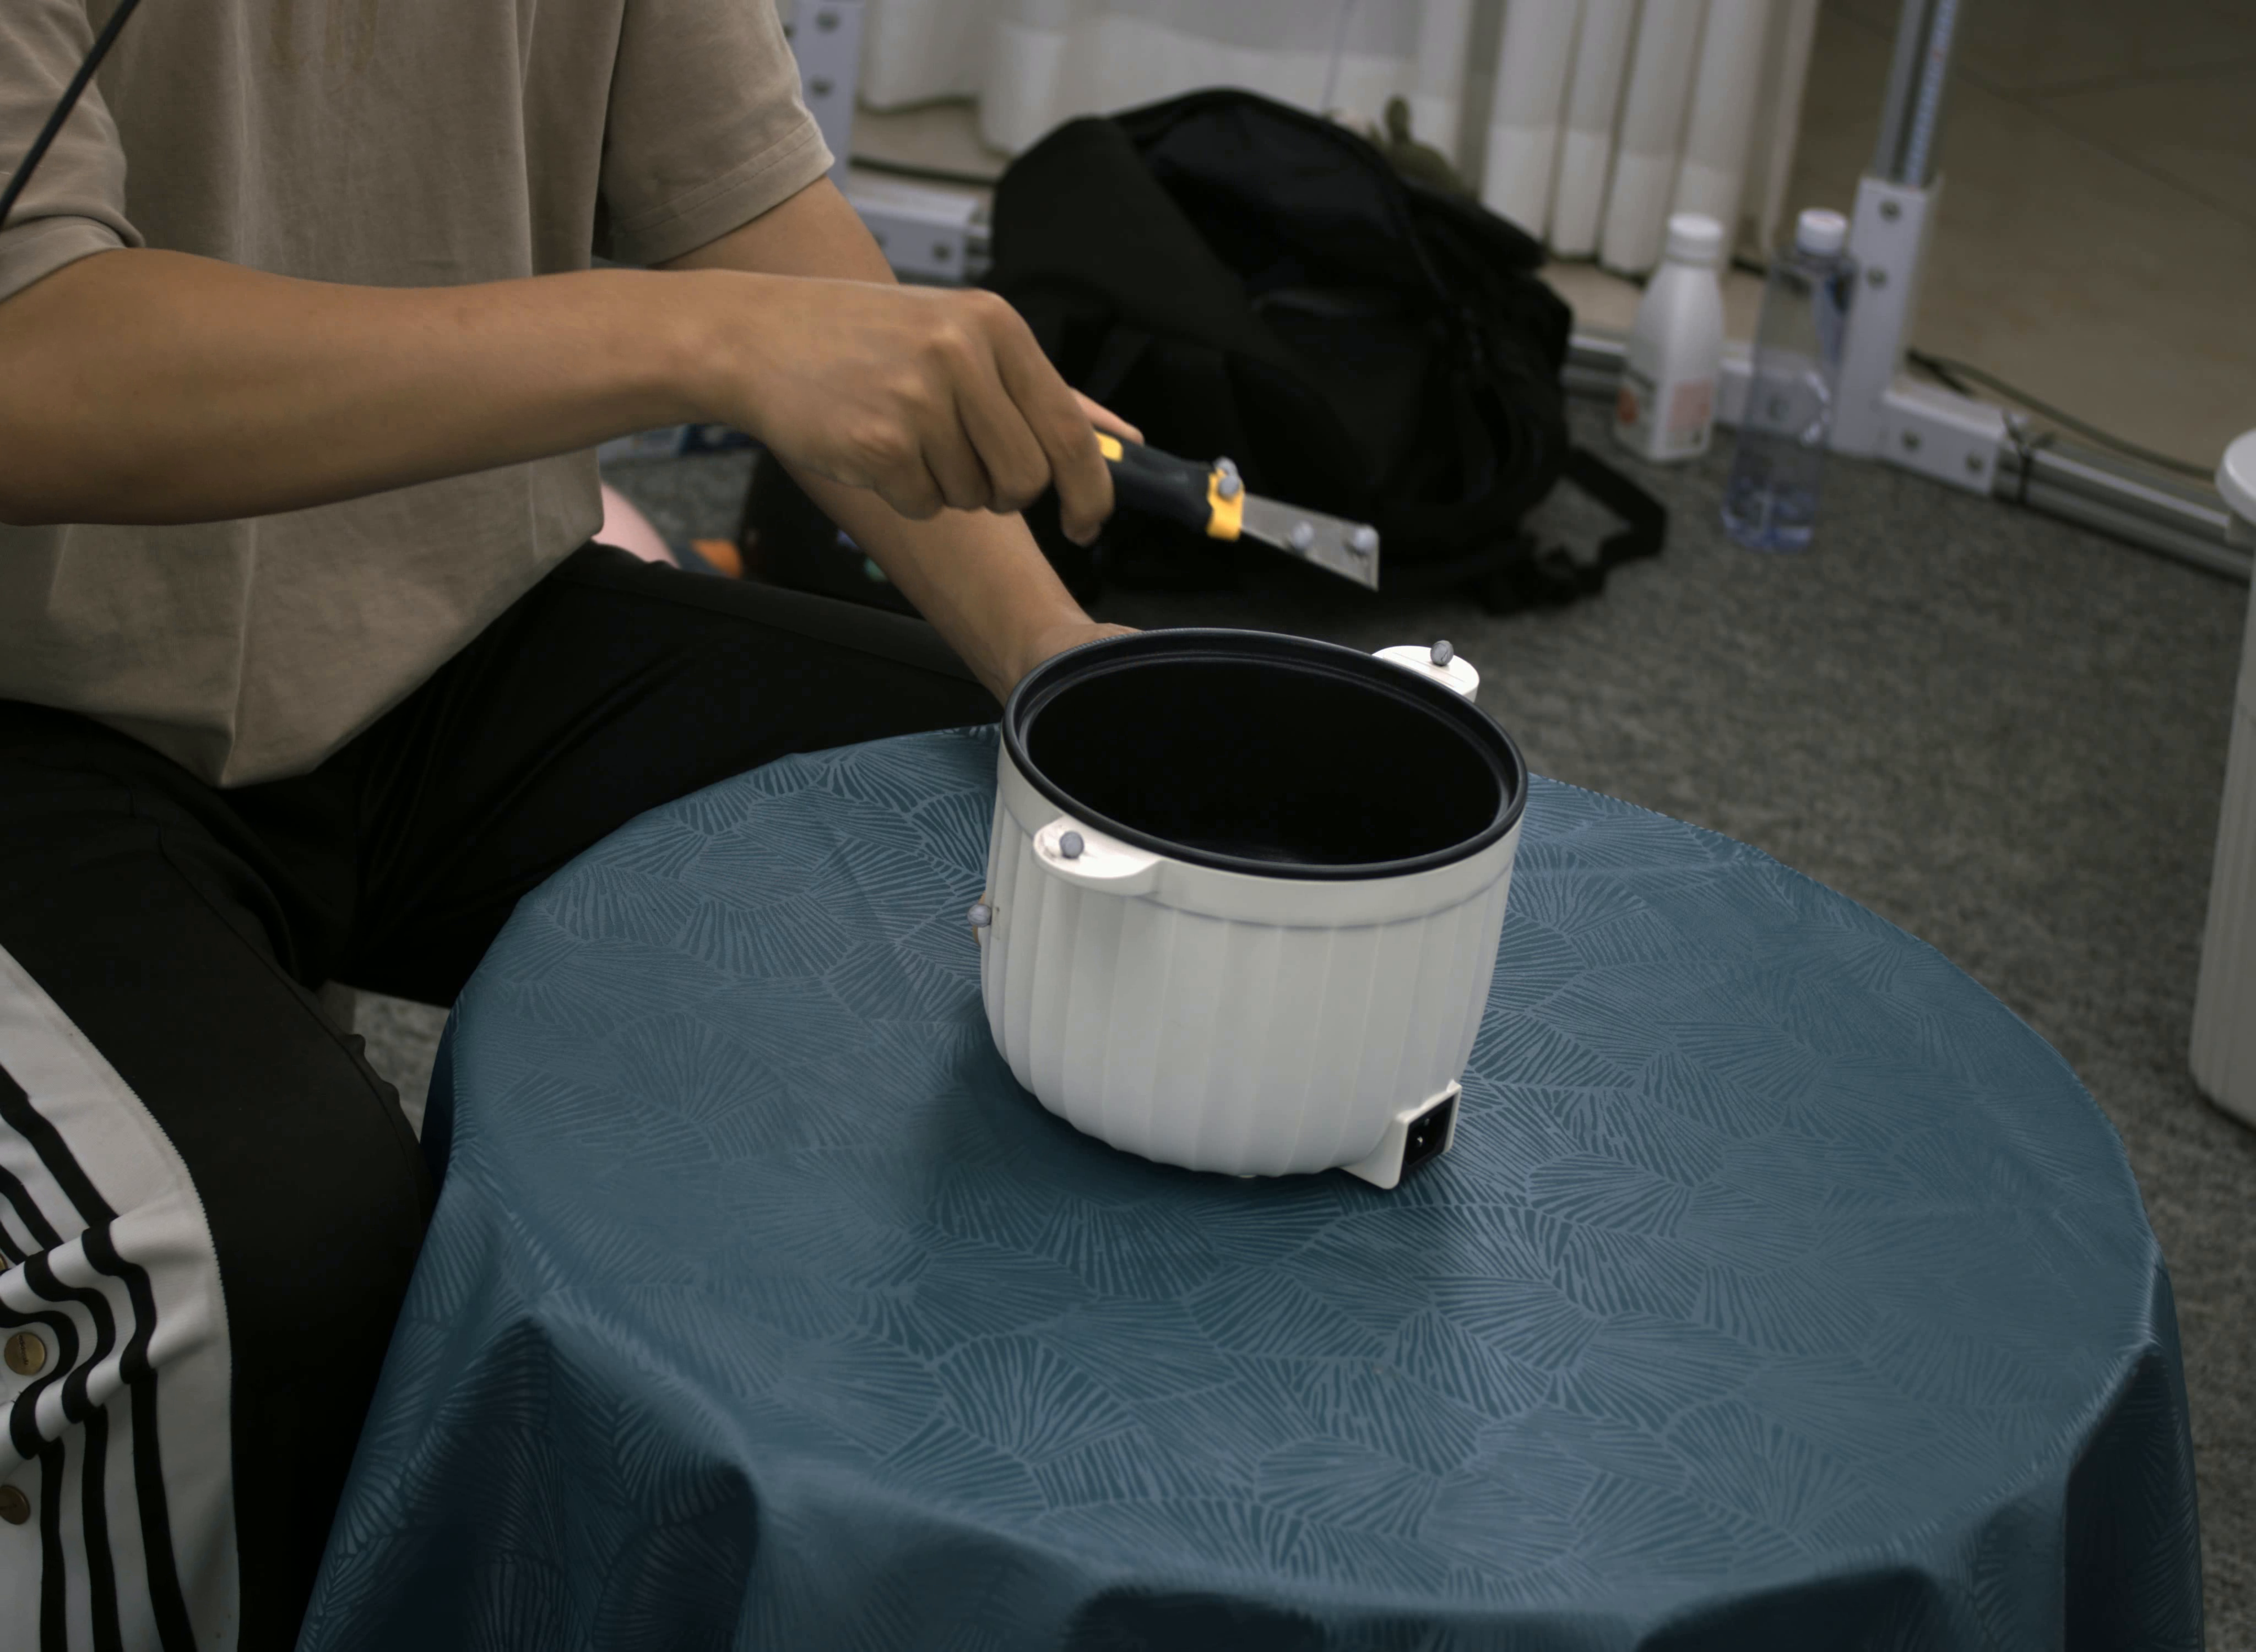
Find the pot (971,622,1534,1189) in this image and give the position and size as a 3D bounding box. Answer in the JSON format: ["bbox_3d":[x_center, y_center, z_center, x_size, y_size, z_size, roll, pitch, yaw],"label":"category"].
[{"bbox_3d":[0.035,0.029,1.845,0.191,0.142,0.239,27,32,26],"label":"pot"}]

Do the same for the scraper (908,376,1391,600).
[{"bbox_3d":[0.008,-0.112,1.758,0.170,0.015,0.039,19,40,-11],"label":"scraper"}]
